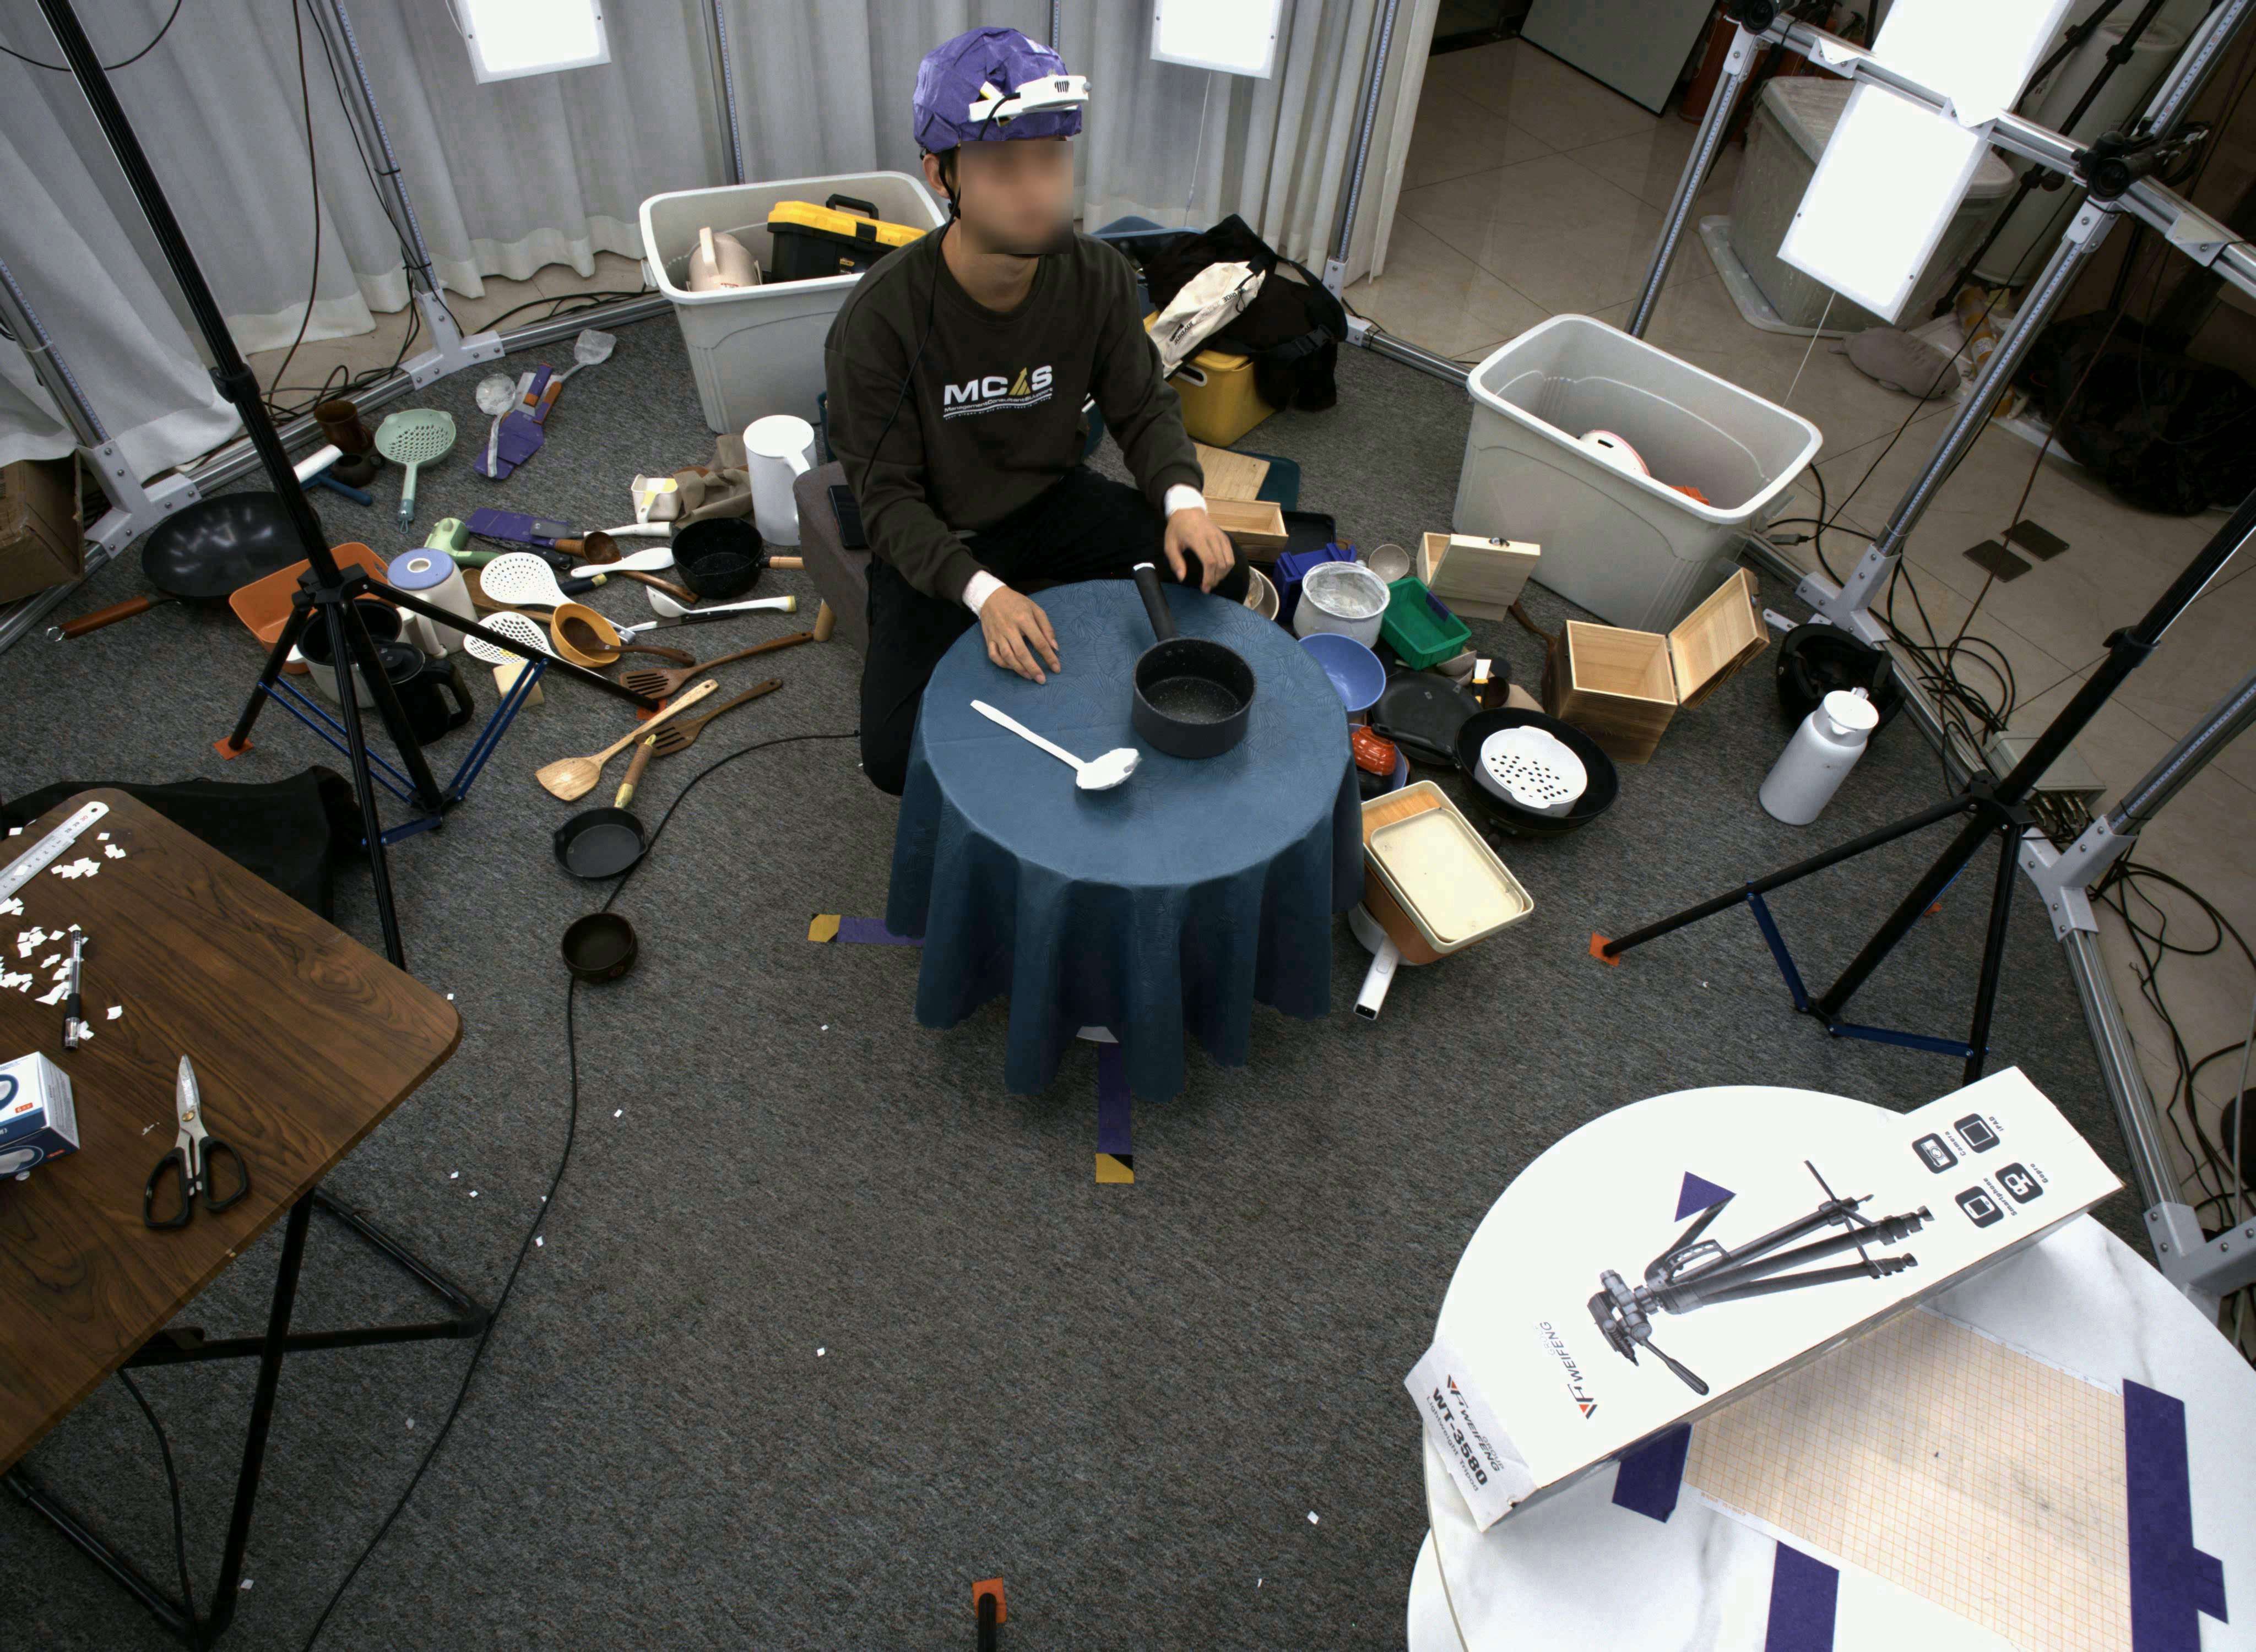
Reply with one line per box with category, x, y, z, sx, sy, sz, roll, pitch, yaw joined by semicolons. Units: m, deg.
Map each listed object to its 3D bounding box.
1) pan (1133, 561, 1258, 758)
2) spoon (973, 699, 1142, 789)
pan;0.071;-0.239;1.826;0.172;0.084;0.337;-8;51;-12
spoon;-0.101;-0.127;1.743;0.281;0.058;0.102;33;45;23
